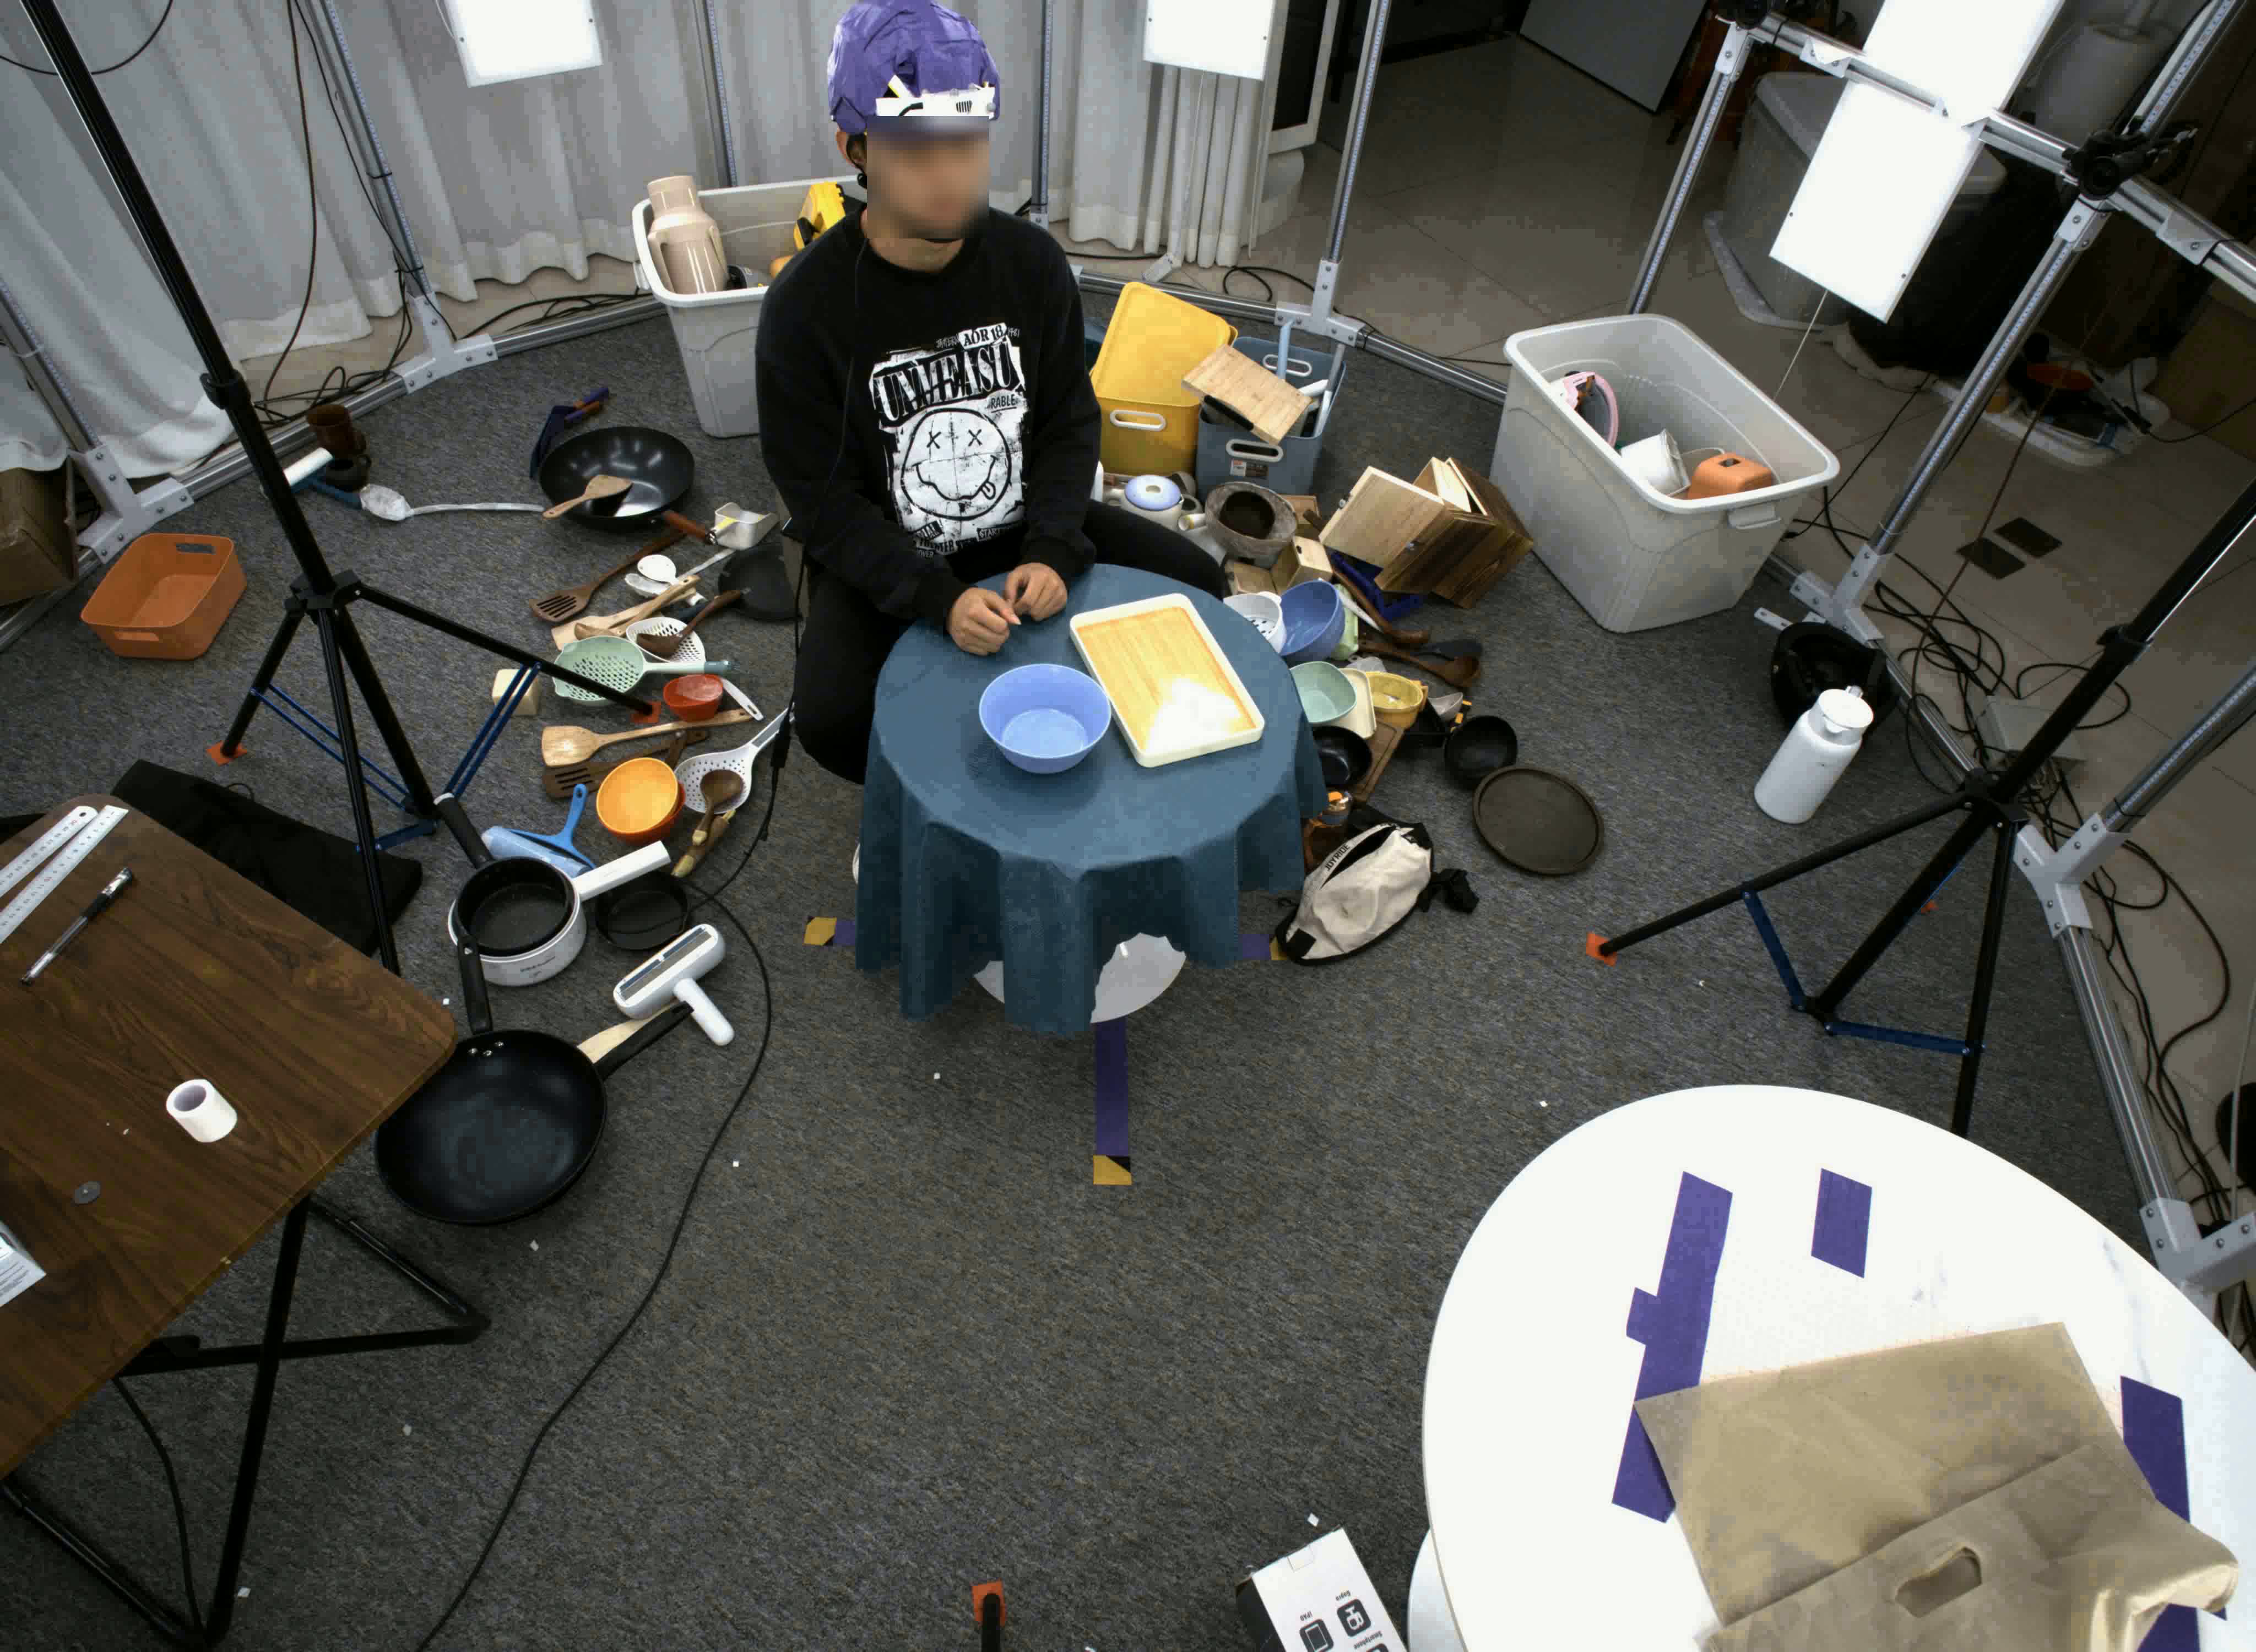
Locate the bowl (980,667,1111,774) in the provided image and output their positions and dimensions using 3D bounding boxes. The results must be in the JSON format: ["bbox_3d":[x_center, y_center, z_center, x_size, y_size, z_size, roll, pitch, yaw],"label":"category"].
[{"bbox_3d":[-0.113,-0.135,1.748,0.176,0.068,0.180,2,49,-3],"label":"bowl"}]

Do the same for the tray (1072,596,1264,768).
[{"bbox_3d":[0.053,-0.214,1.857,0.191,0.027,0.307,-15,52,-16],"label":"tray"}]
